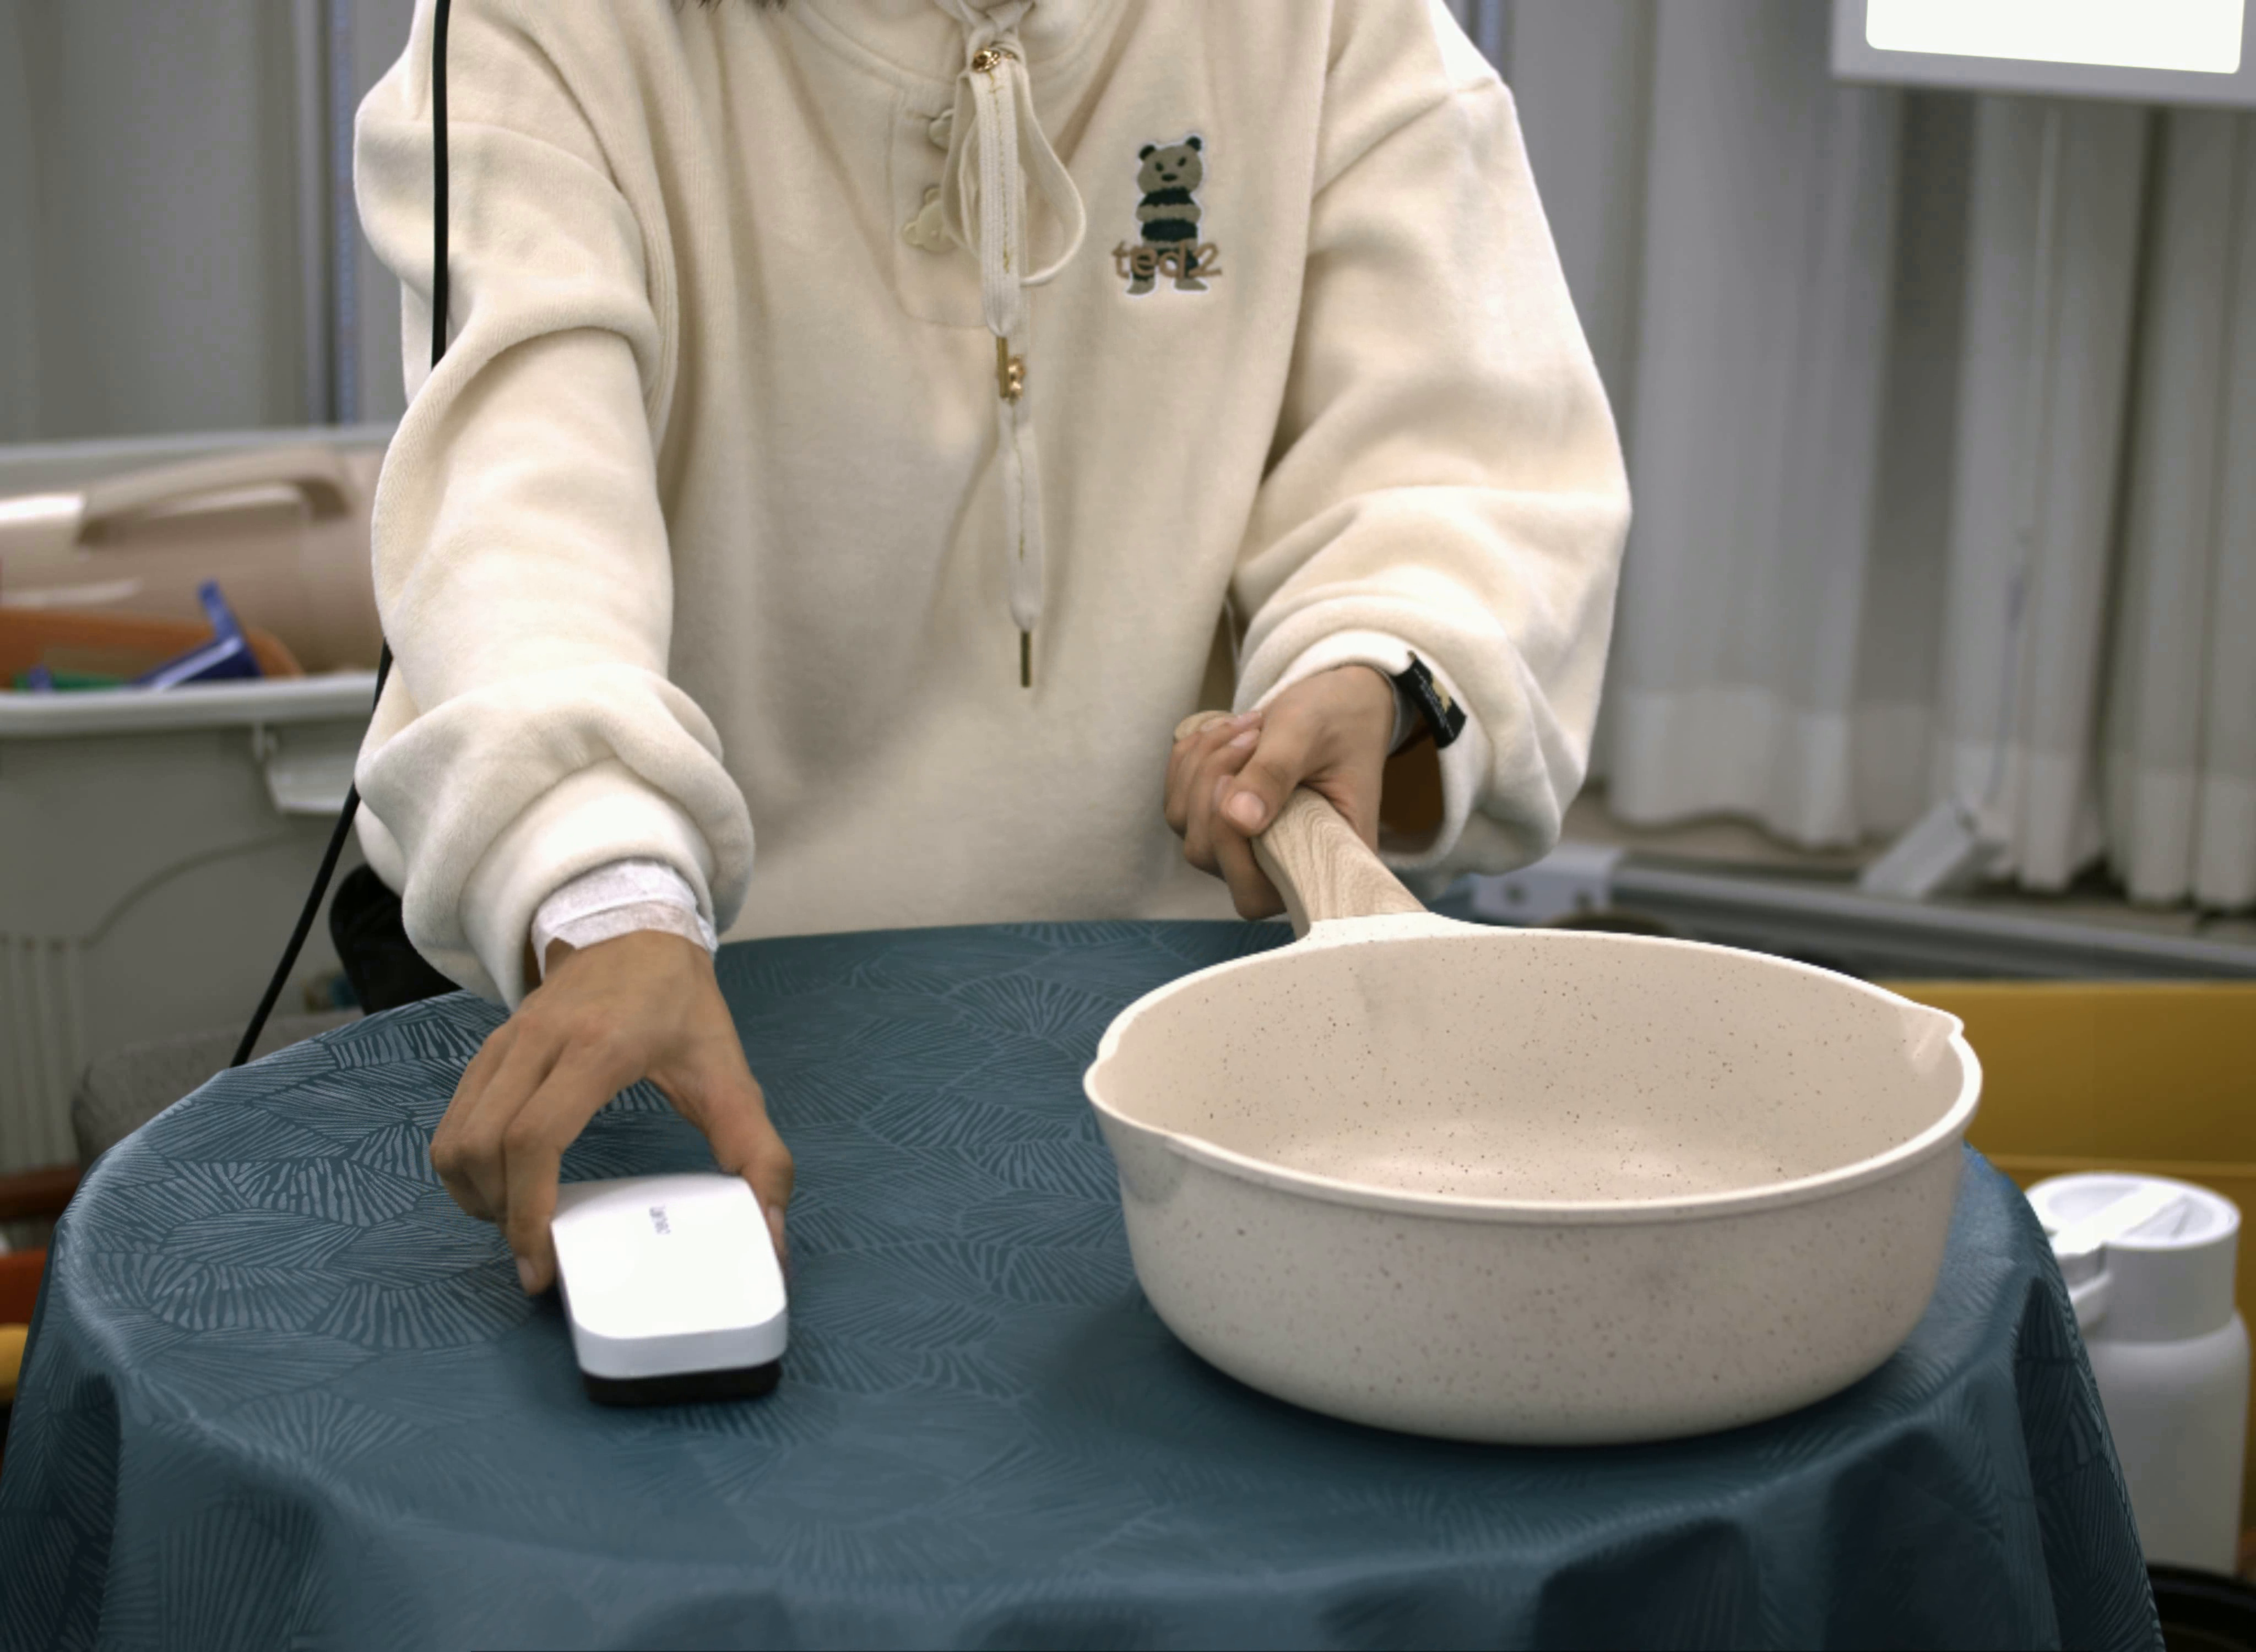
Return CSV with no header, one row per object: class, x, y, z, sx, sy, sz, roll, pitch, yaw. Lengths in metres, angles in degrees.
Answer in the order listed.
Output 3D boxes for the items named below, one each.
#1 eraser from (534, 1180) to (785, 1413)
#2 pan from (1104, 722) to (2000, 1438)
eraser,-0.133,0.129,1.498,0.063,0.035,0.130,-1,16,-11
pan,0.093,0.070,1.583,0.264,0.103,0.430,-6,17,-17
